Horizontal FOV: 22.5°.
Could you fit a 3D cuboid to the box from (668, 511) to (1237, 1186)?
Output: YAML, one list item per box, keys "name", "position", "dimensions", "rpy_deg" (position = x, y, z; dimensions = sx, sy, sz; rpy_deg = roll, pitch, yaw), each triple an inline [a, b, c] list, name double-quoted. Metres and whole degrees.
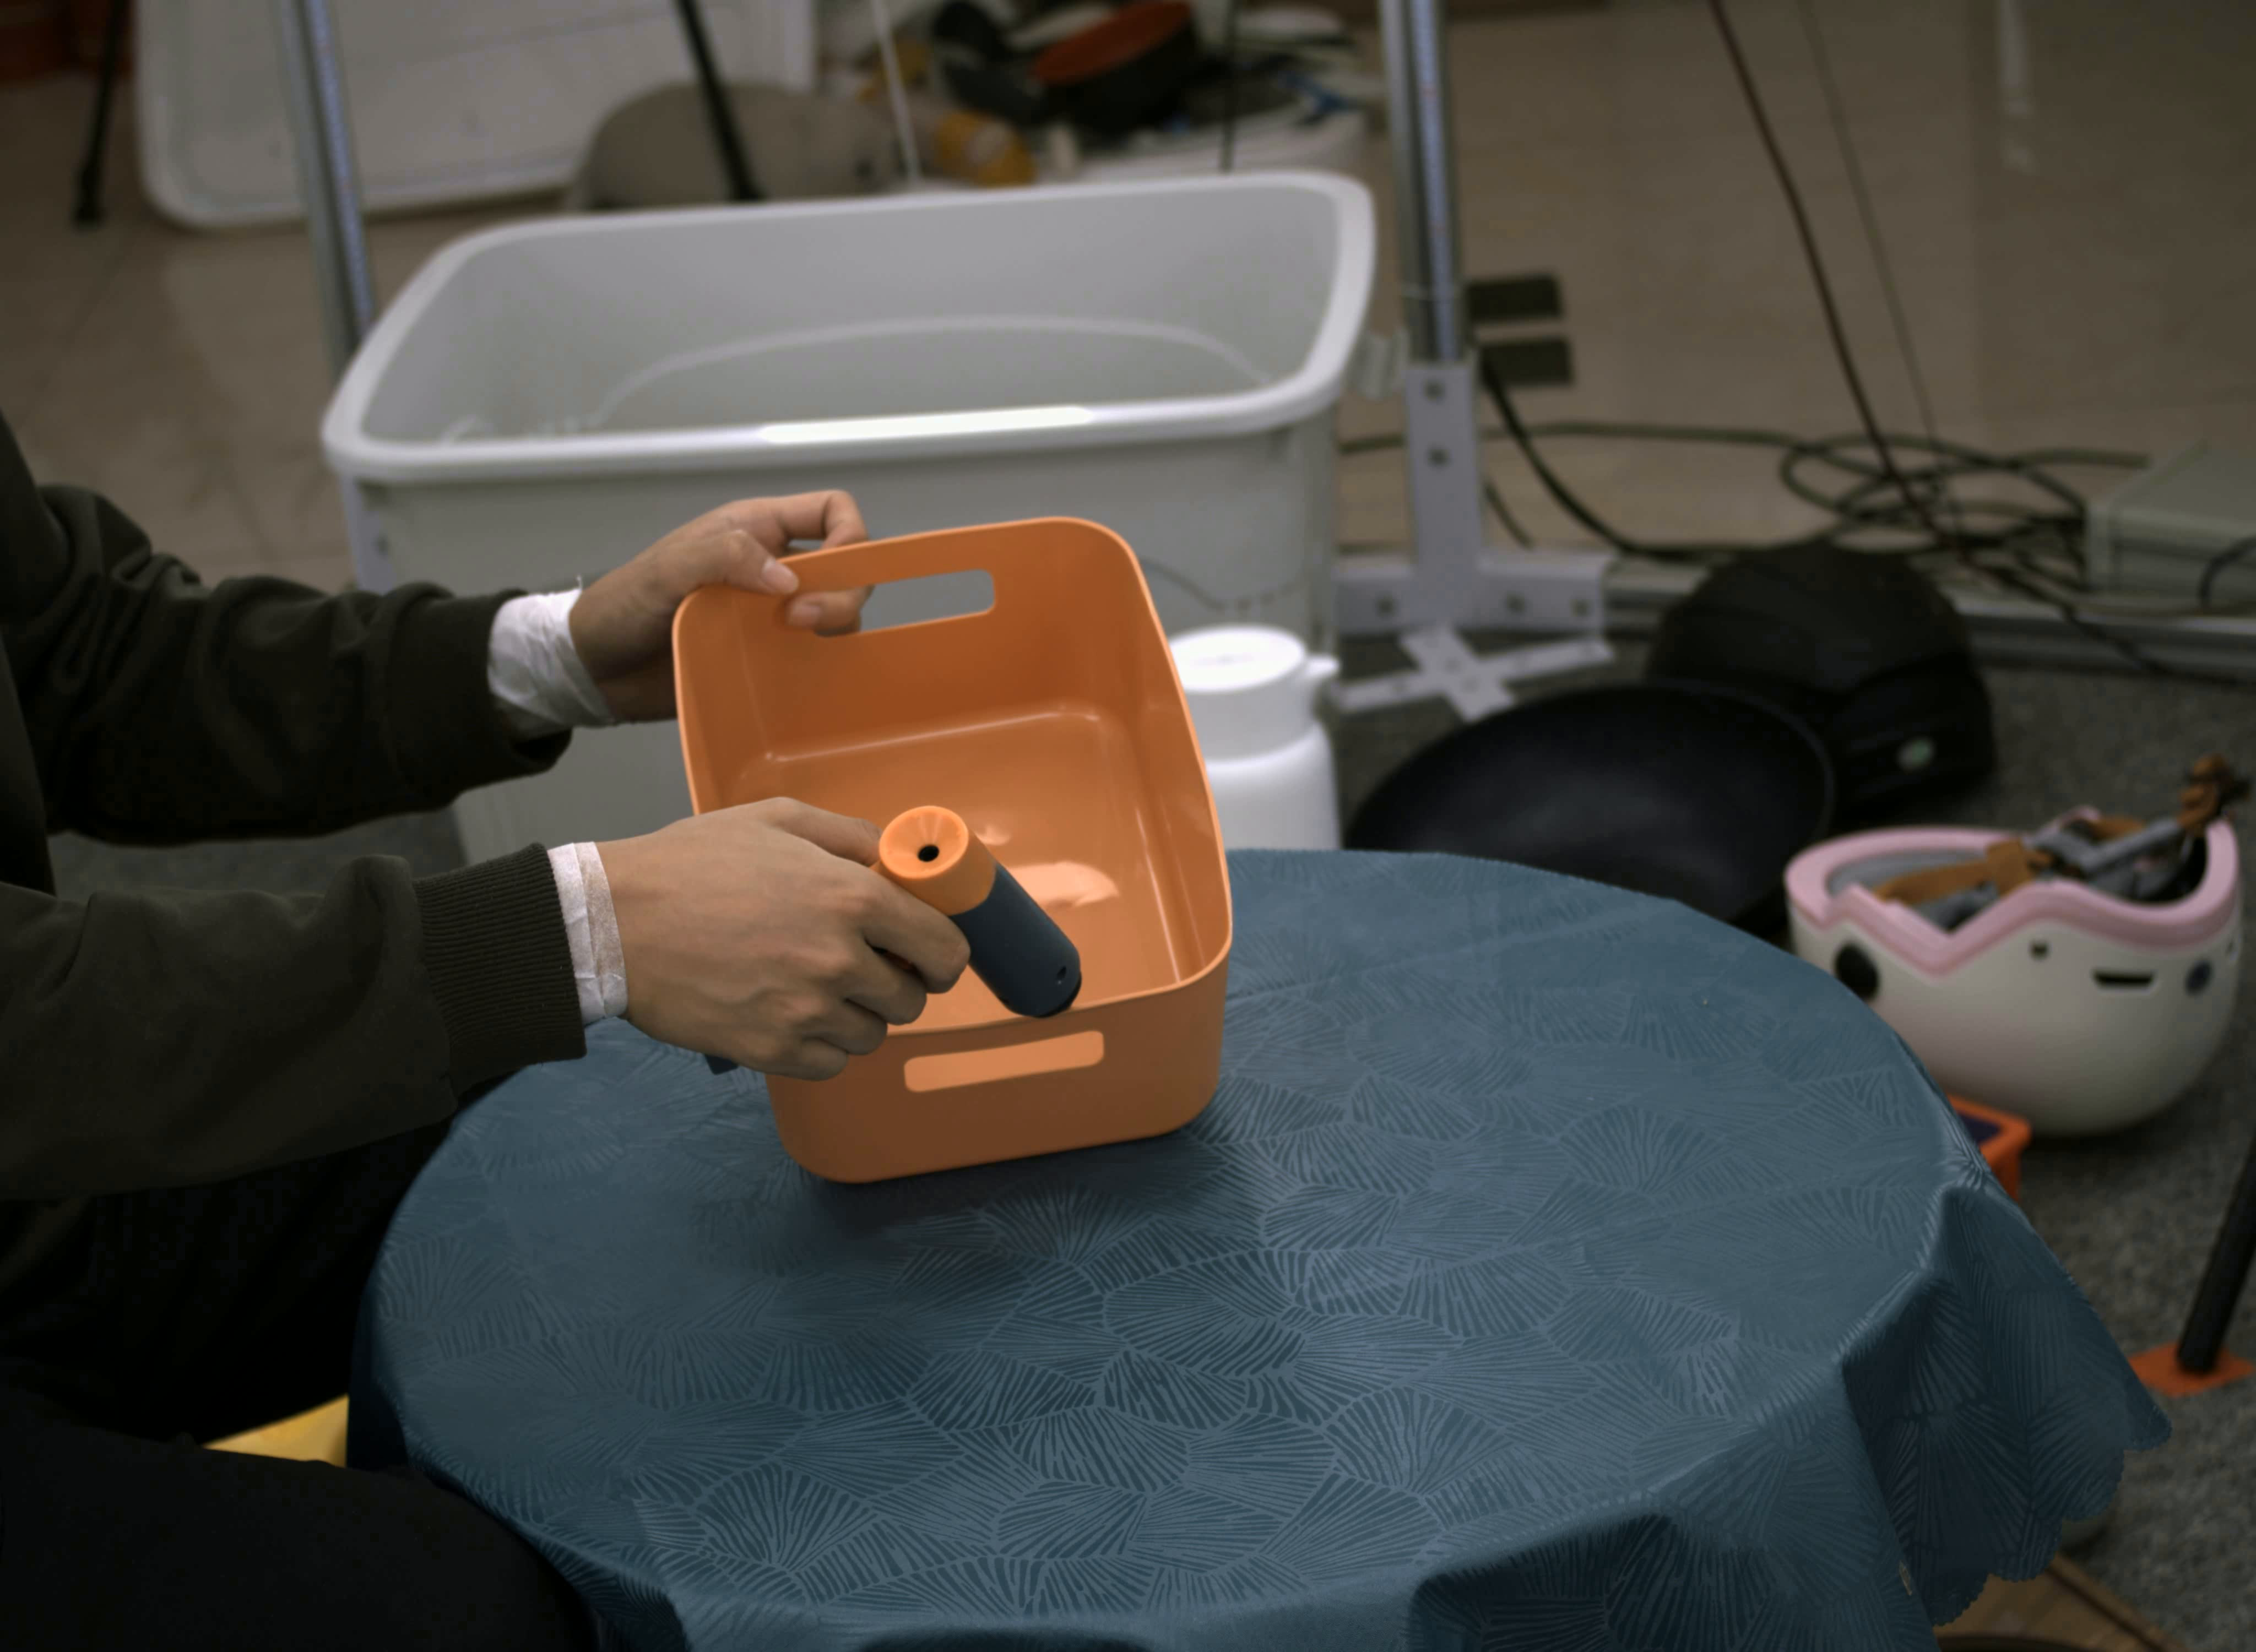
- name: "box"
  position: [-0.069, 0.012, 2.228]
  dimensions: [0.199, 0.104, 0.268]
  rpy_deg: [-10, 47, -5]

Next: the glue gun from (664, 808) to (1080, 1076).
- name: "glue gun"
  position: [-0.091, 0.048, 2.058]
  dimensions: [0.139, 0.120, 0.040]
  rpy_deg: [-13, 51, 1]
